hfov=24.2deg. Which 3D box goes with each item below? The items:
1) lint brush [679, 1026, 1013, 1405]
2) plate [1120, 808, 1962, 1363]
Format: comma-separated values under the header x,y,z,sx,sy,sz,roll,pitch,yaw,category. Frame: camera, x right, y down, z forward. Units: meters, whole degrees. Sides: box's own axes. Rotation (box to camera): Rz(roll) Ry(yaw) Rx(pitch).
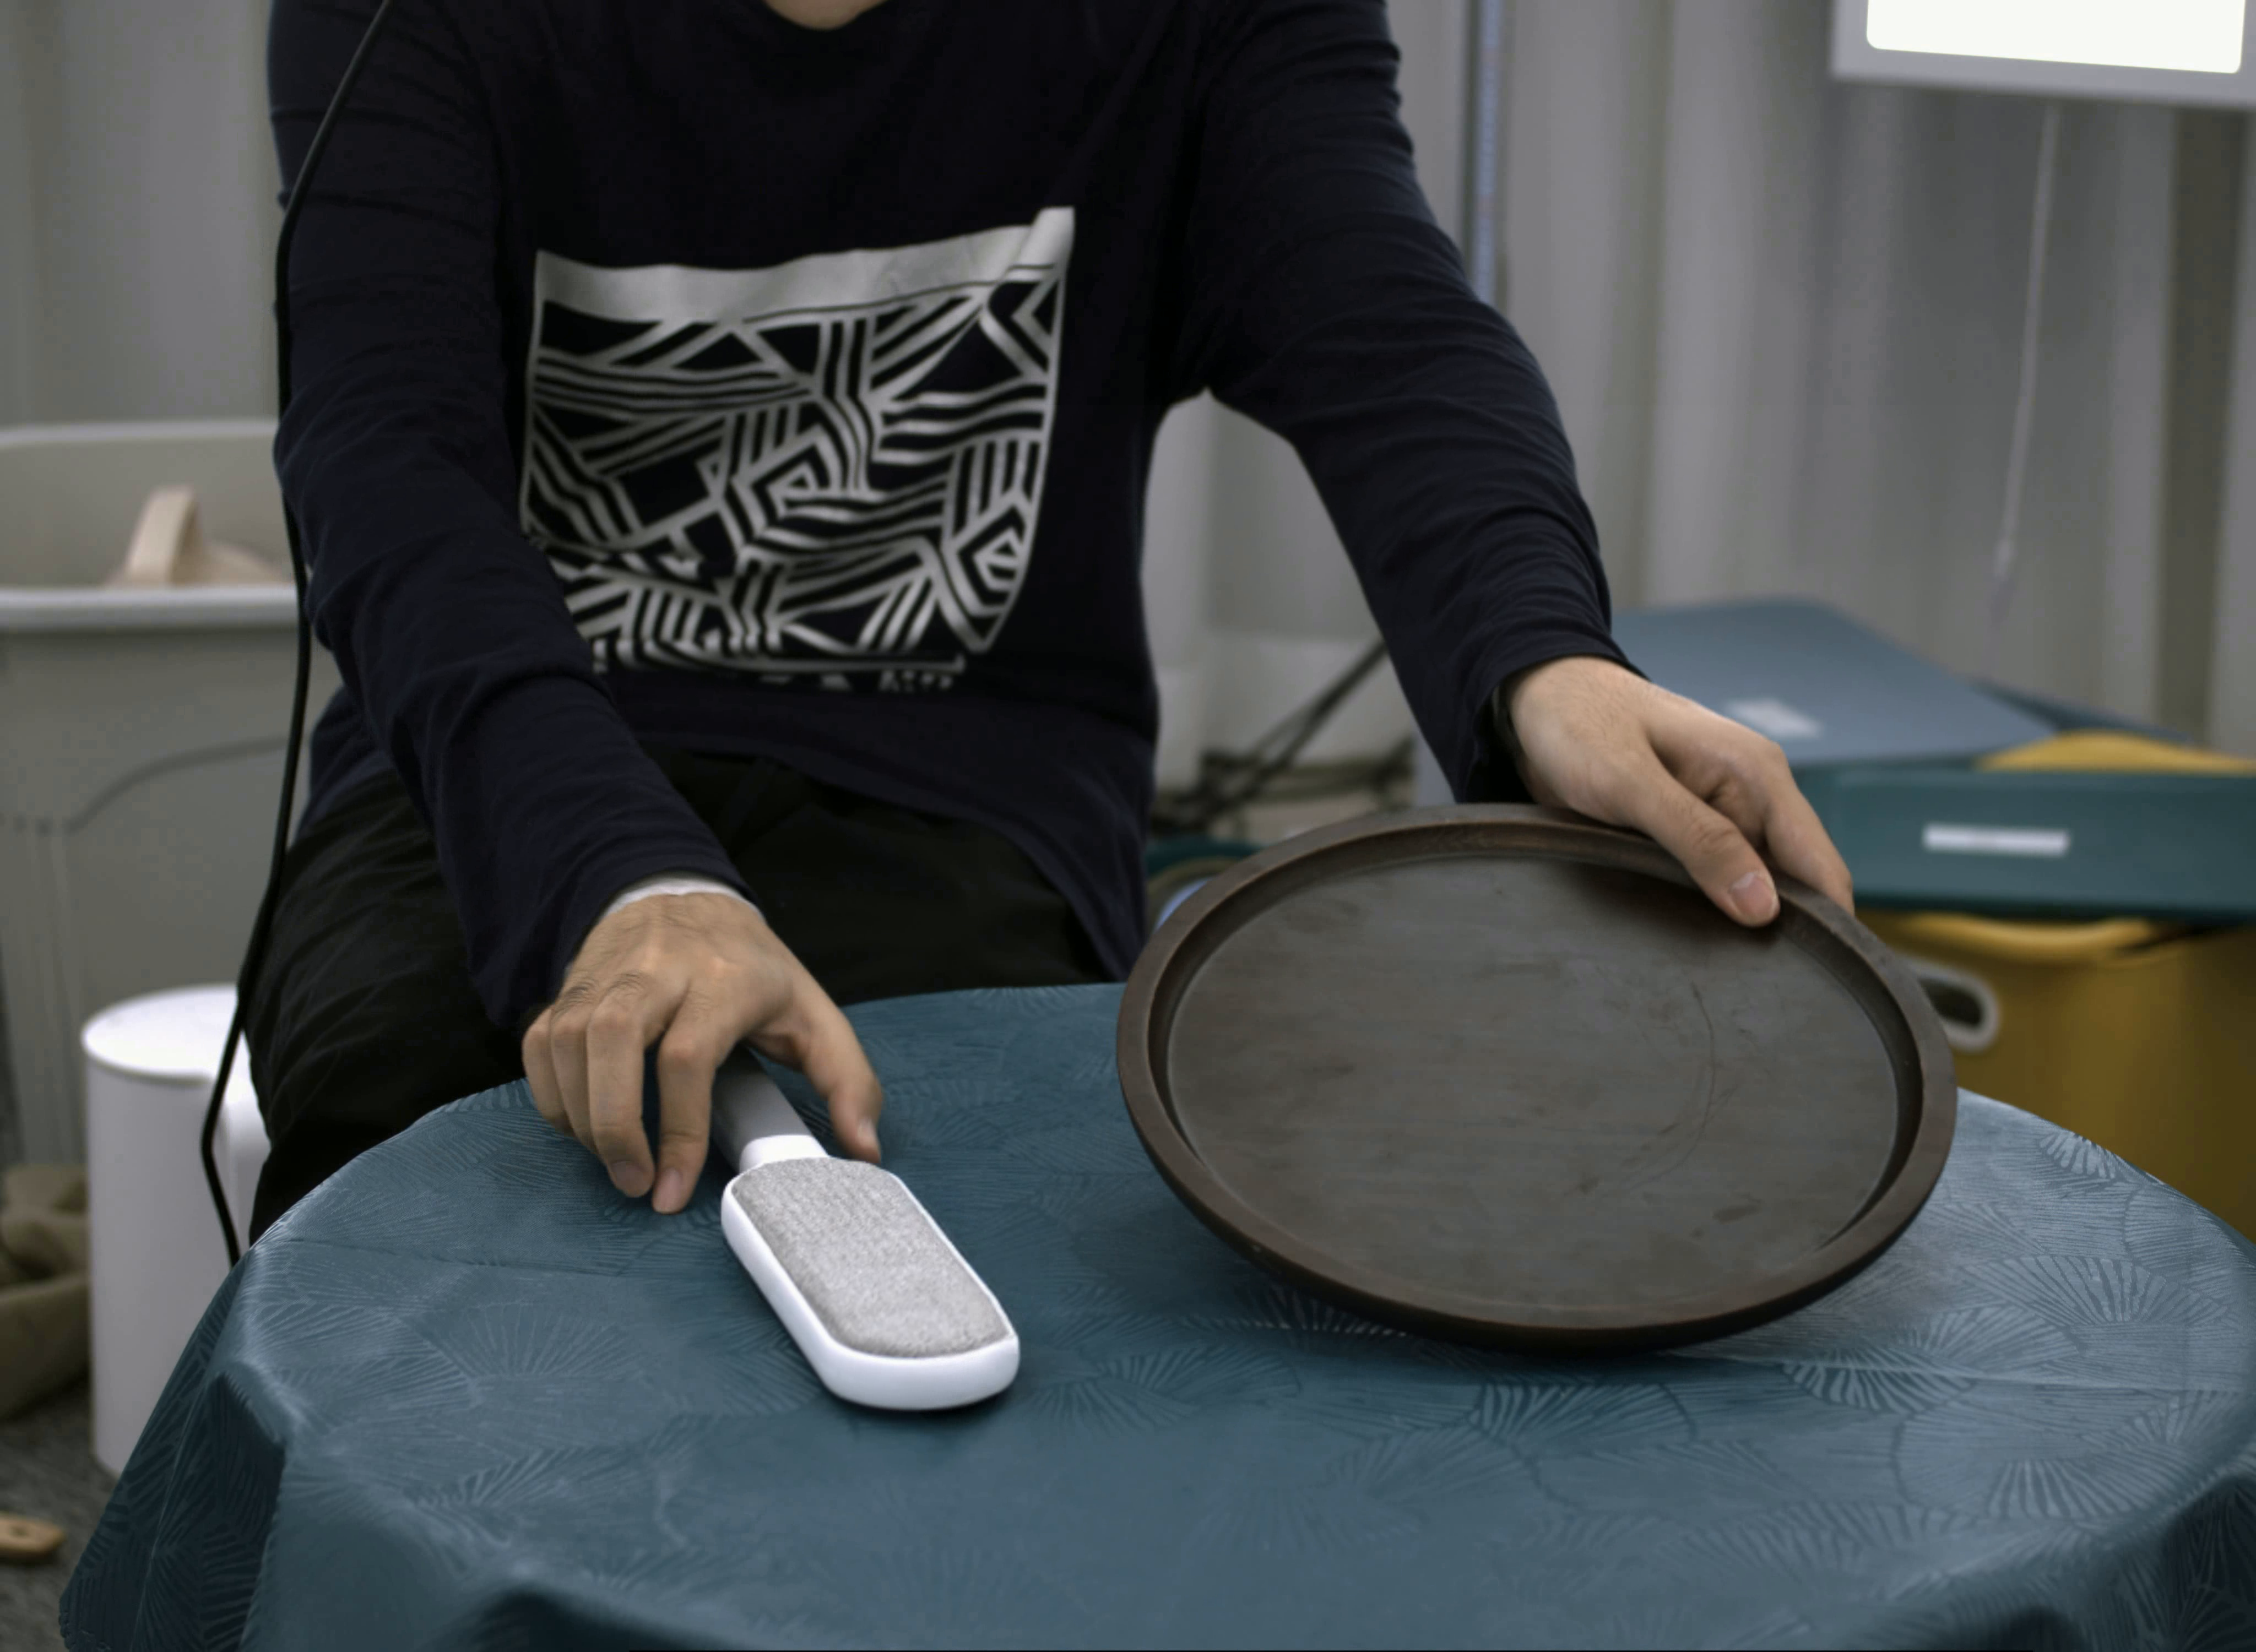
x,y,z,sx,sy,sz,roll,pitch,yaw,category
-0.093,0.112,1.573,0.060,0.021,0.306,-9,17,-14,lint brush
0.123,0.074,1.577,0.254,0.029,0.252,4,36,-3,plate
